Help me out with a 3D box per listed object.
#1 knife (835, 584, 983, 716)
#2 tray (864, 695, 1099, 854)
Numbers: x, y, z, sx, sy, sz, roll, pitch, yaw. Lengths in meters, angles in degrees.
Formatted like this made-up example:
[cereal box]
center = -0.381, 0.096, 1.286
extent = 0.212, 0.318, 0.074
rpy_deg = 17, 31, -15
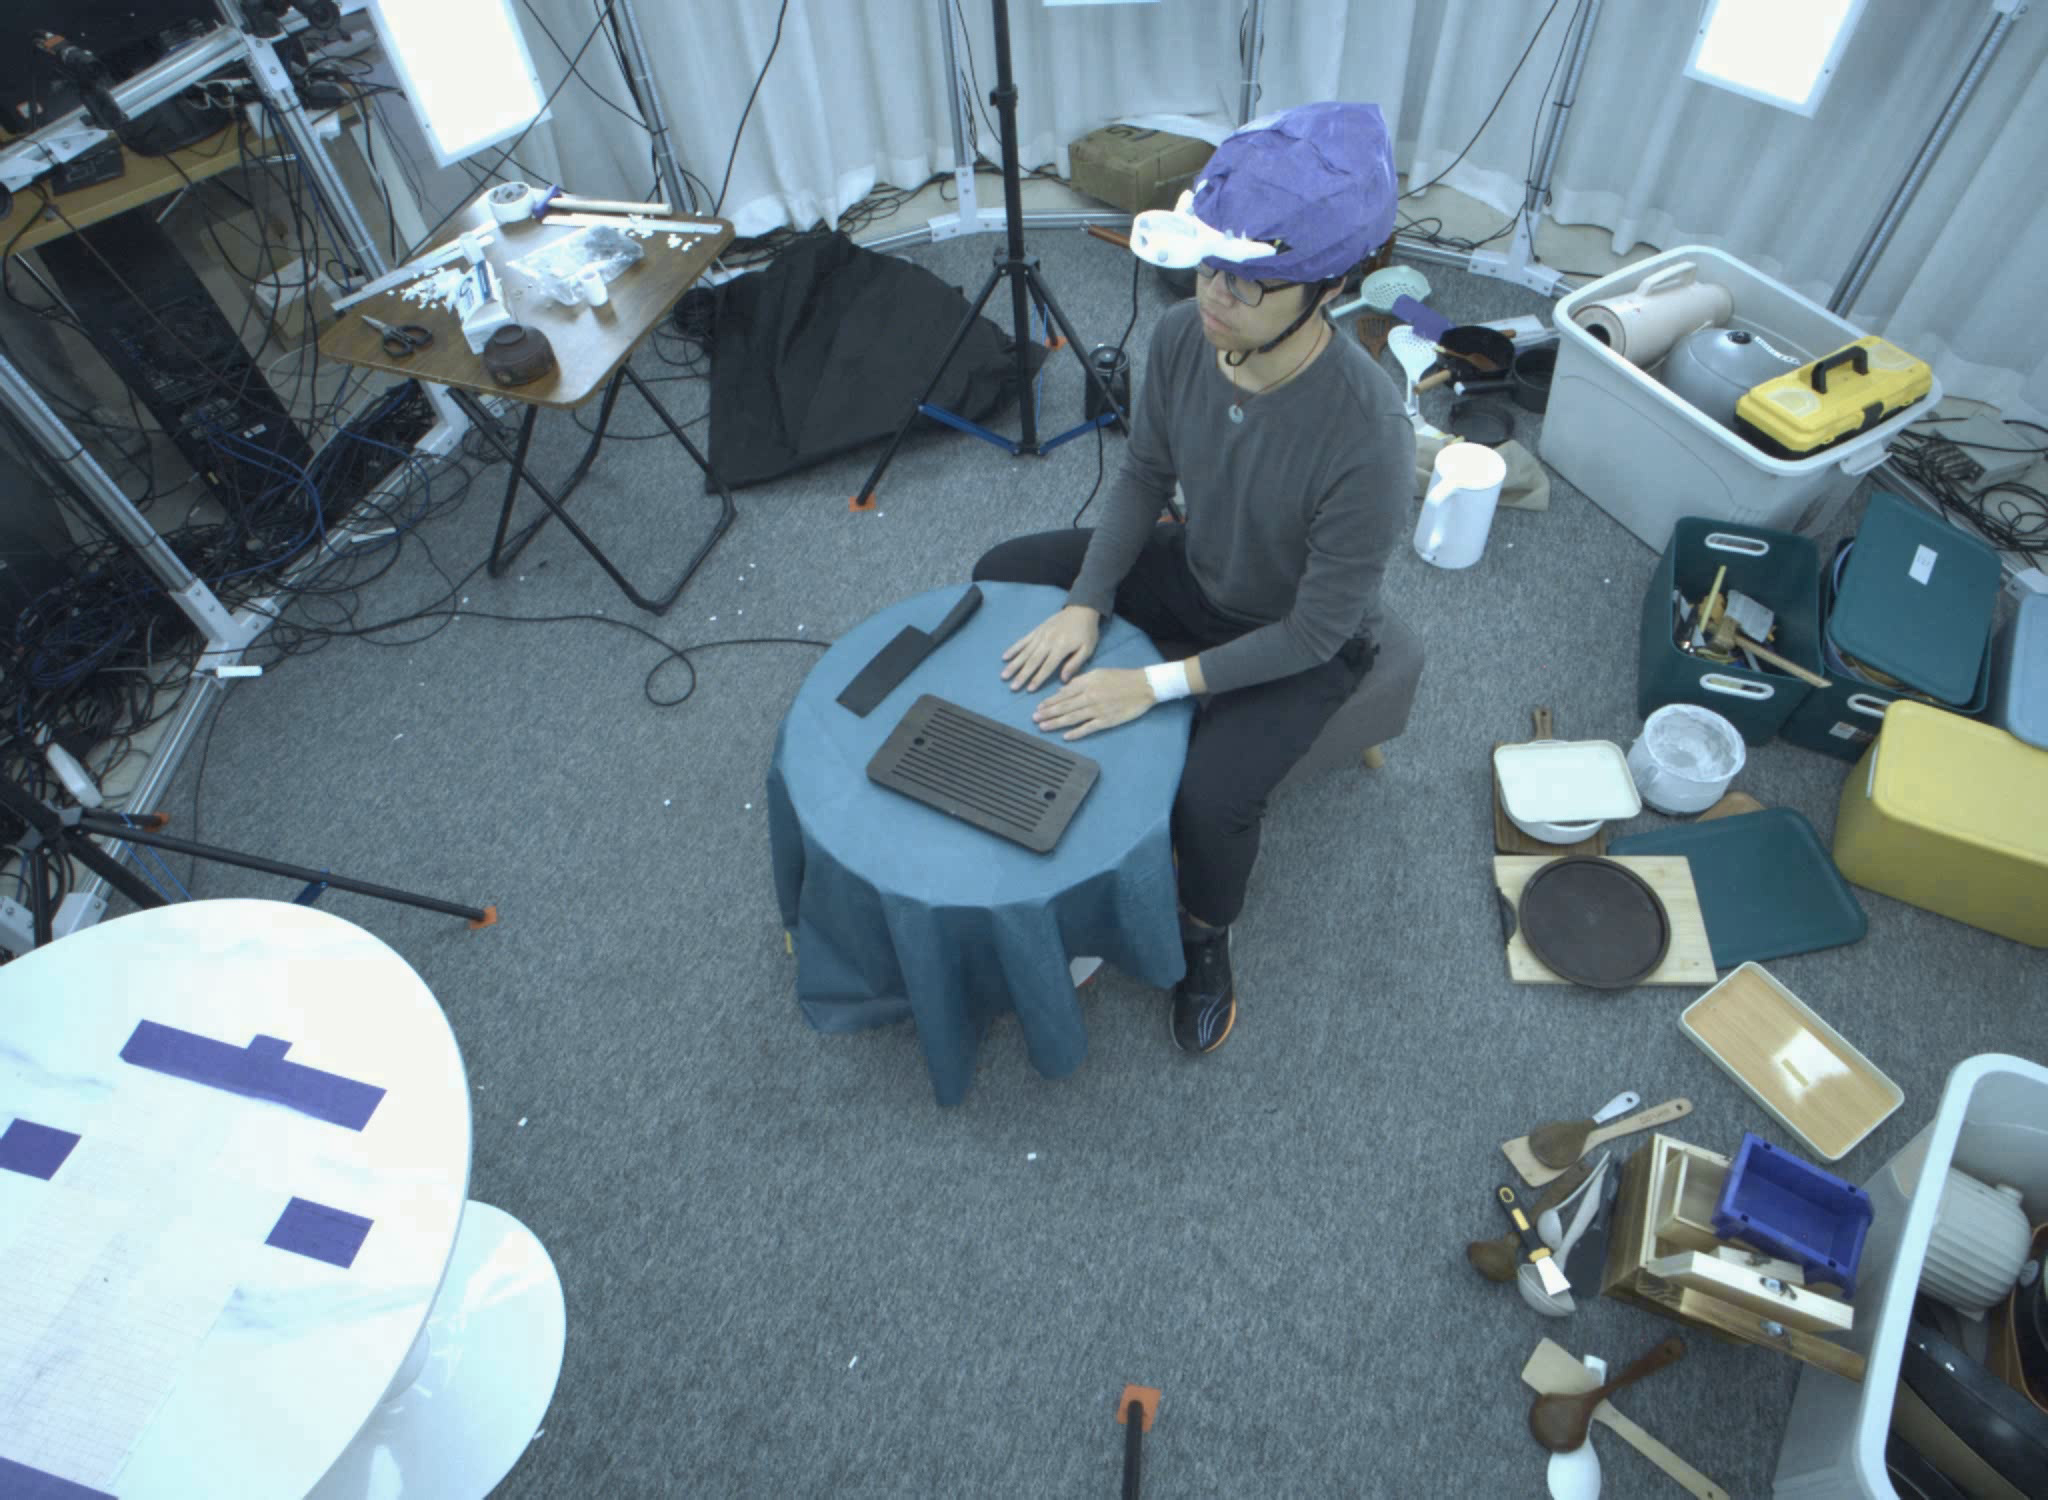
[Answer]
[knife]
center = -0.173, -0.163, 1.908
extent = 0.079, 0.021, 0.304
rpy_deg = 35, 64, 25
[tray]
center = -0.061, 0.032, 1.762
extent = 0.302, 0.019, 0.170
rpy_deg = 23, 57, 16
